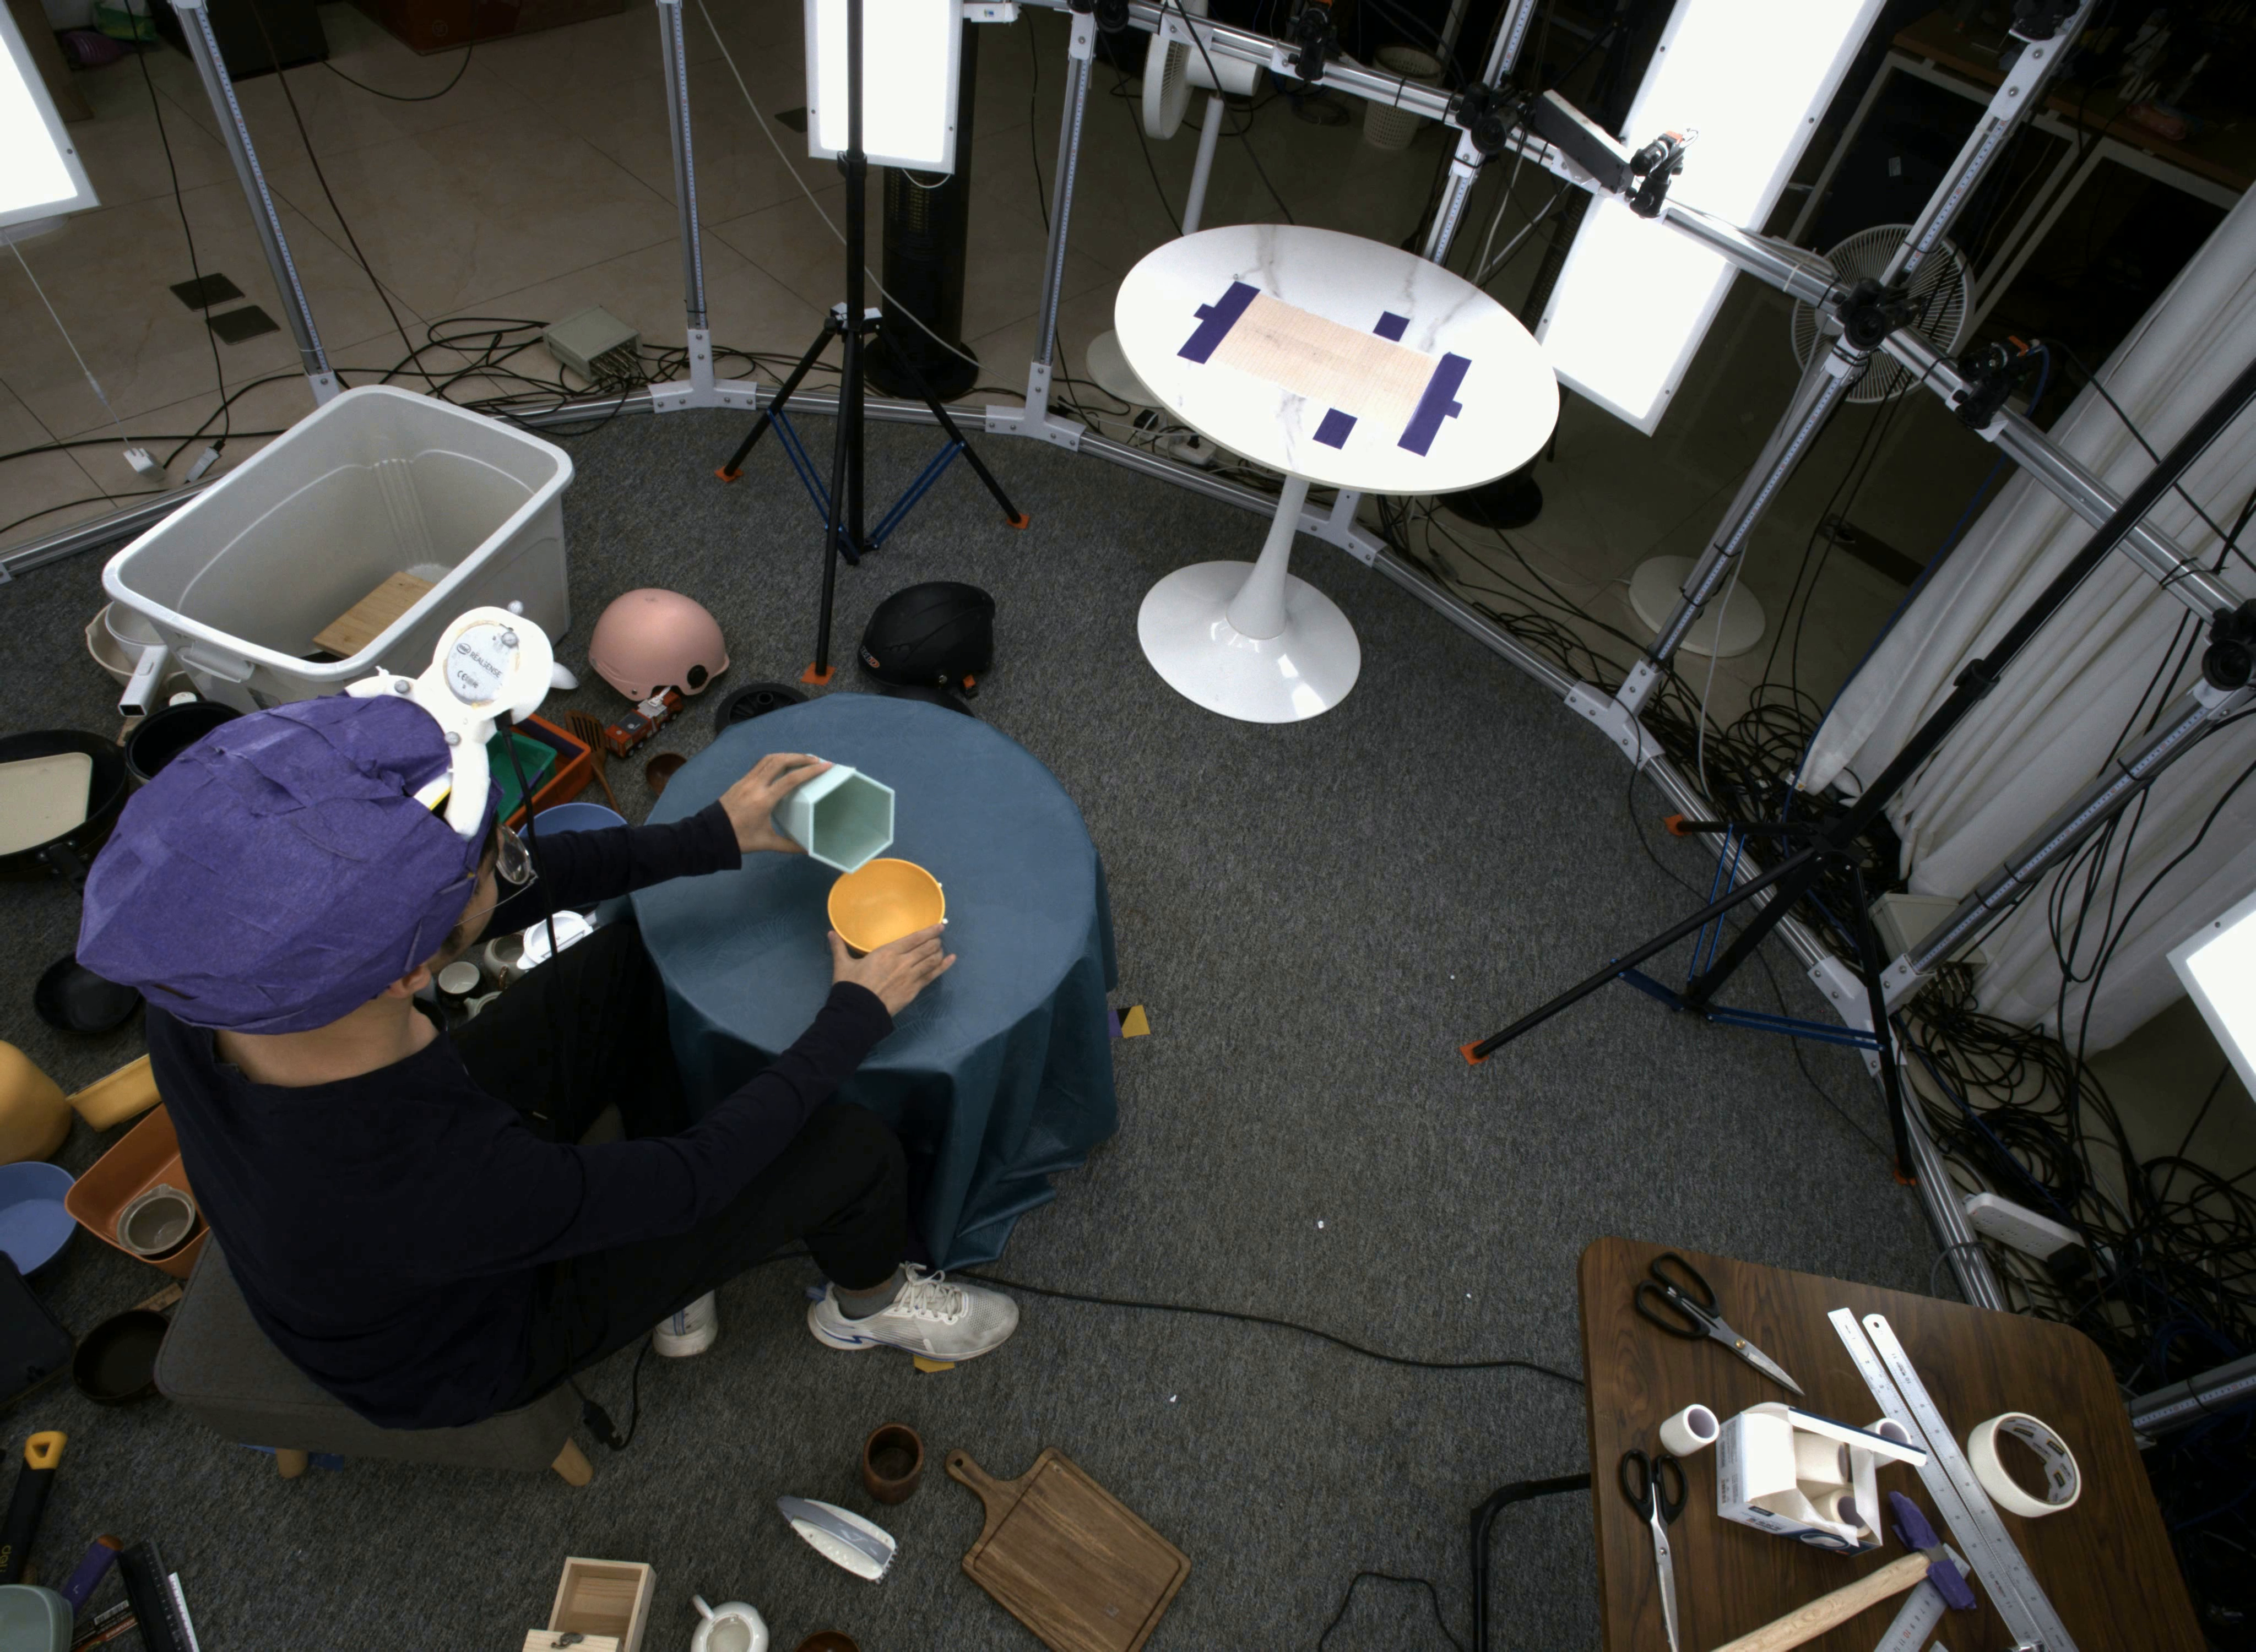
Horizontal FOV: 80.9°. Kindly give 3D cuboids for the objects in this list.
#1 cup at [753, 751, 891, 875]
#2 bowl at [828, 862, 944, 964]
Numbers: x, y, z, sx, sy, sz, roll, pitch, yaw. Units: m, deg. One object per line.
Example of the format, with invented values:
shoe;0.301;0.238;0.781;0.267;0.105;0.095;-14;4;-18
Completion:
cup;-0.380;-0.028;1.597;0.117;0.134;0.156;-12;25;-39
bowl;-0.303;0.118;1.634;0.144;0.061;0.143;5;54;-6
